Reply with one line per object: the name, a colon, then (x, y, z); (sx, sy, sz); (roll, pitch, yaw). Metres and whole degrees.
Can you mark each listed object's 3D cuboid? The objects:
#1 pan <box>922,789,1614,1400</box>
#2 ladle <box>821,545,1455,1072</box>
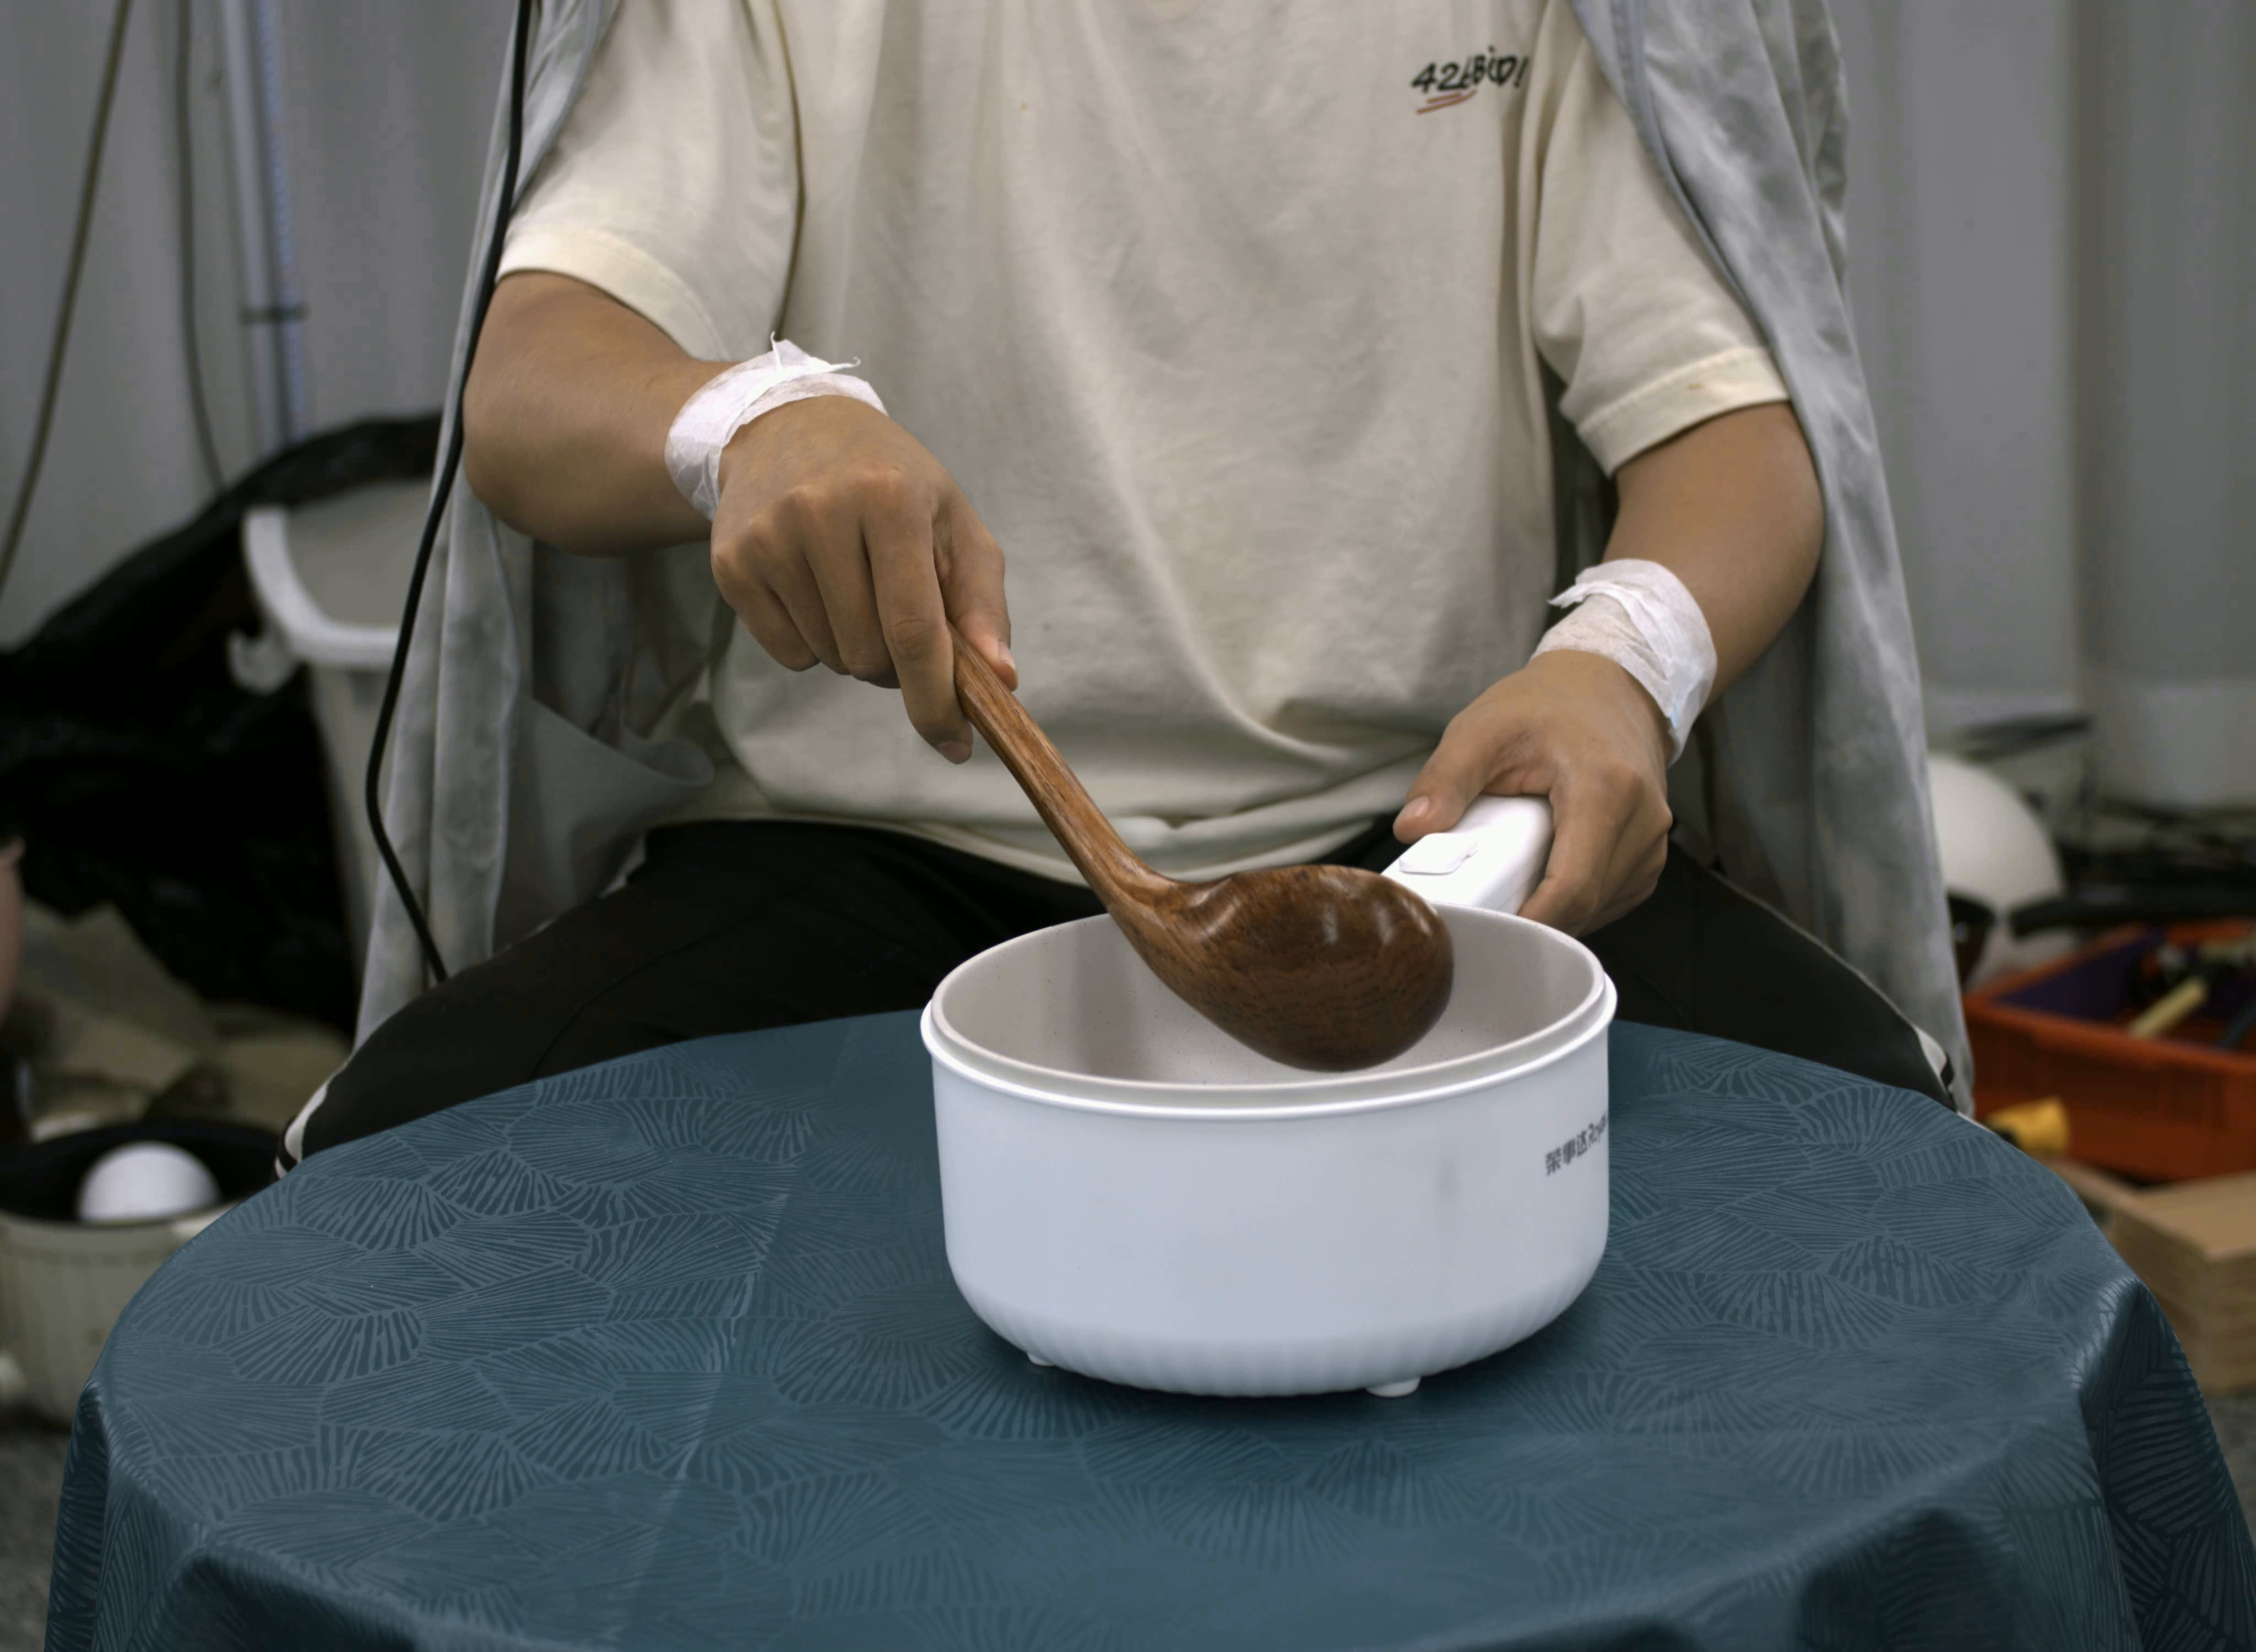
pan: (0.070, 0.077, 1.661); (0.201, 0.102, 0.356); (2, 15, 21)
ladle: (0.002, -0.020, 1.681); (0.076, 0.081, 0.278); (-19, 44, -23)
